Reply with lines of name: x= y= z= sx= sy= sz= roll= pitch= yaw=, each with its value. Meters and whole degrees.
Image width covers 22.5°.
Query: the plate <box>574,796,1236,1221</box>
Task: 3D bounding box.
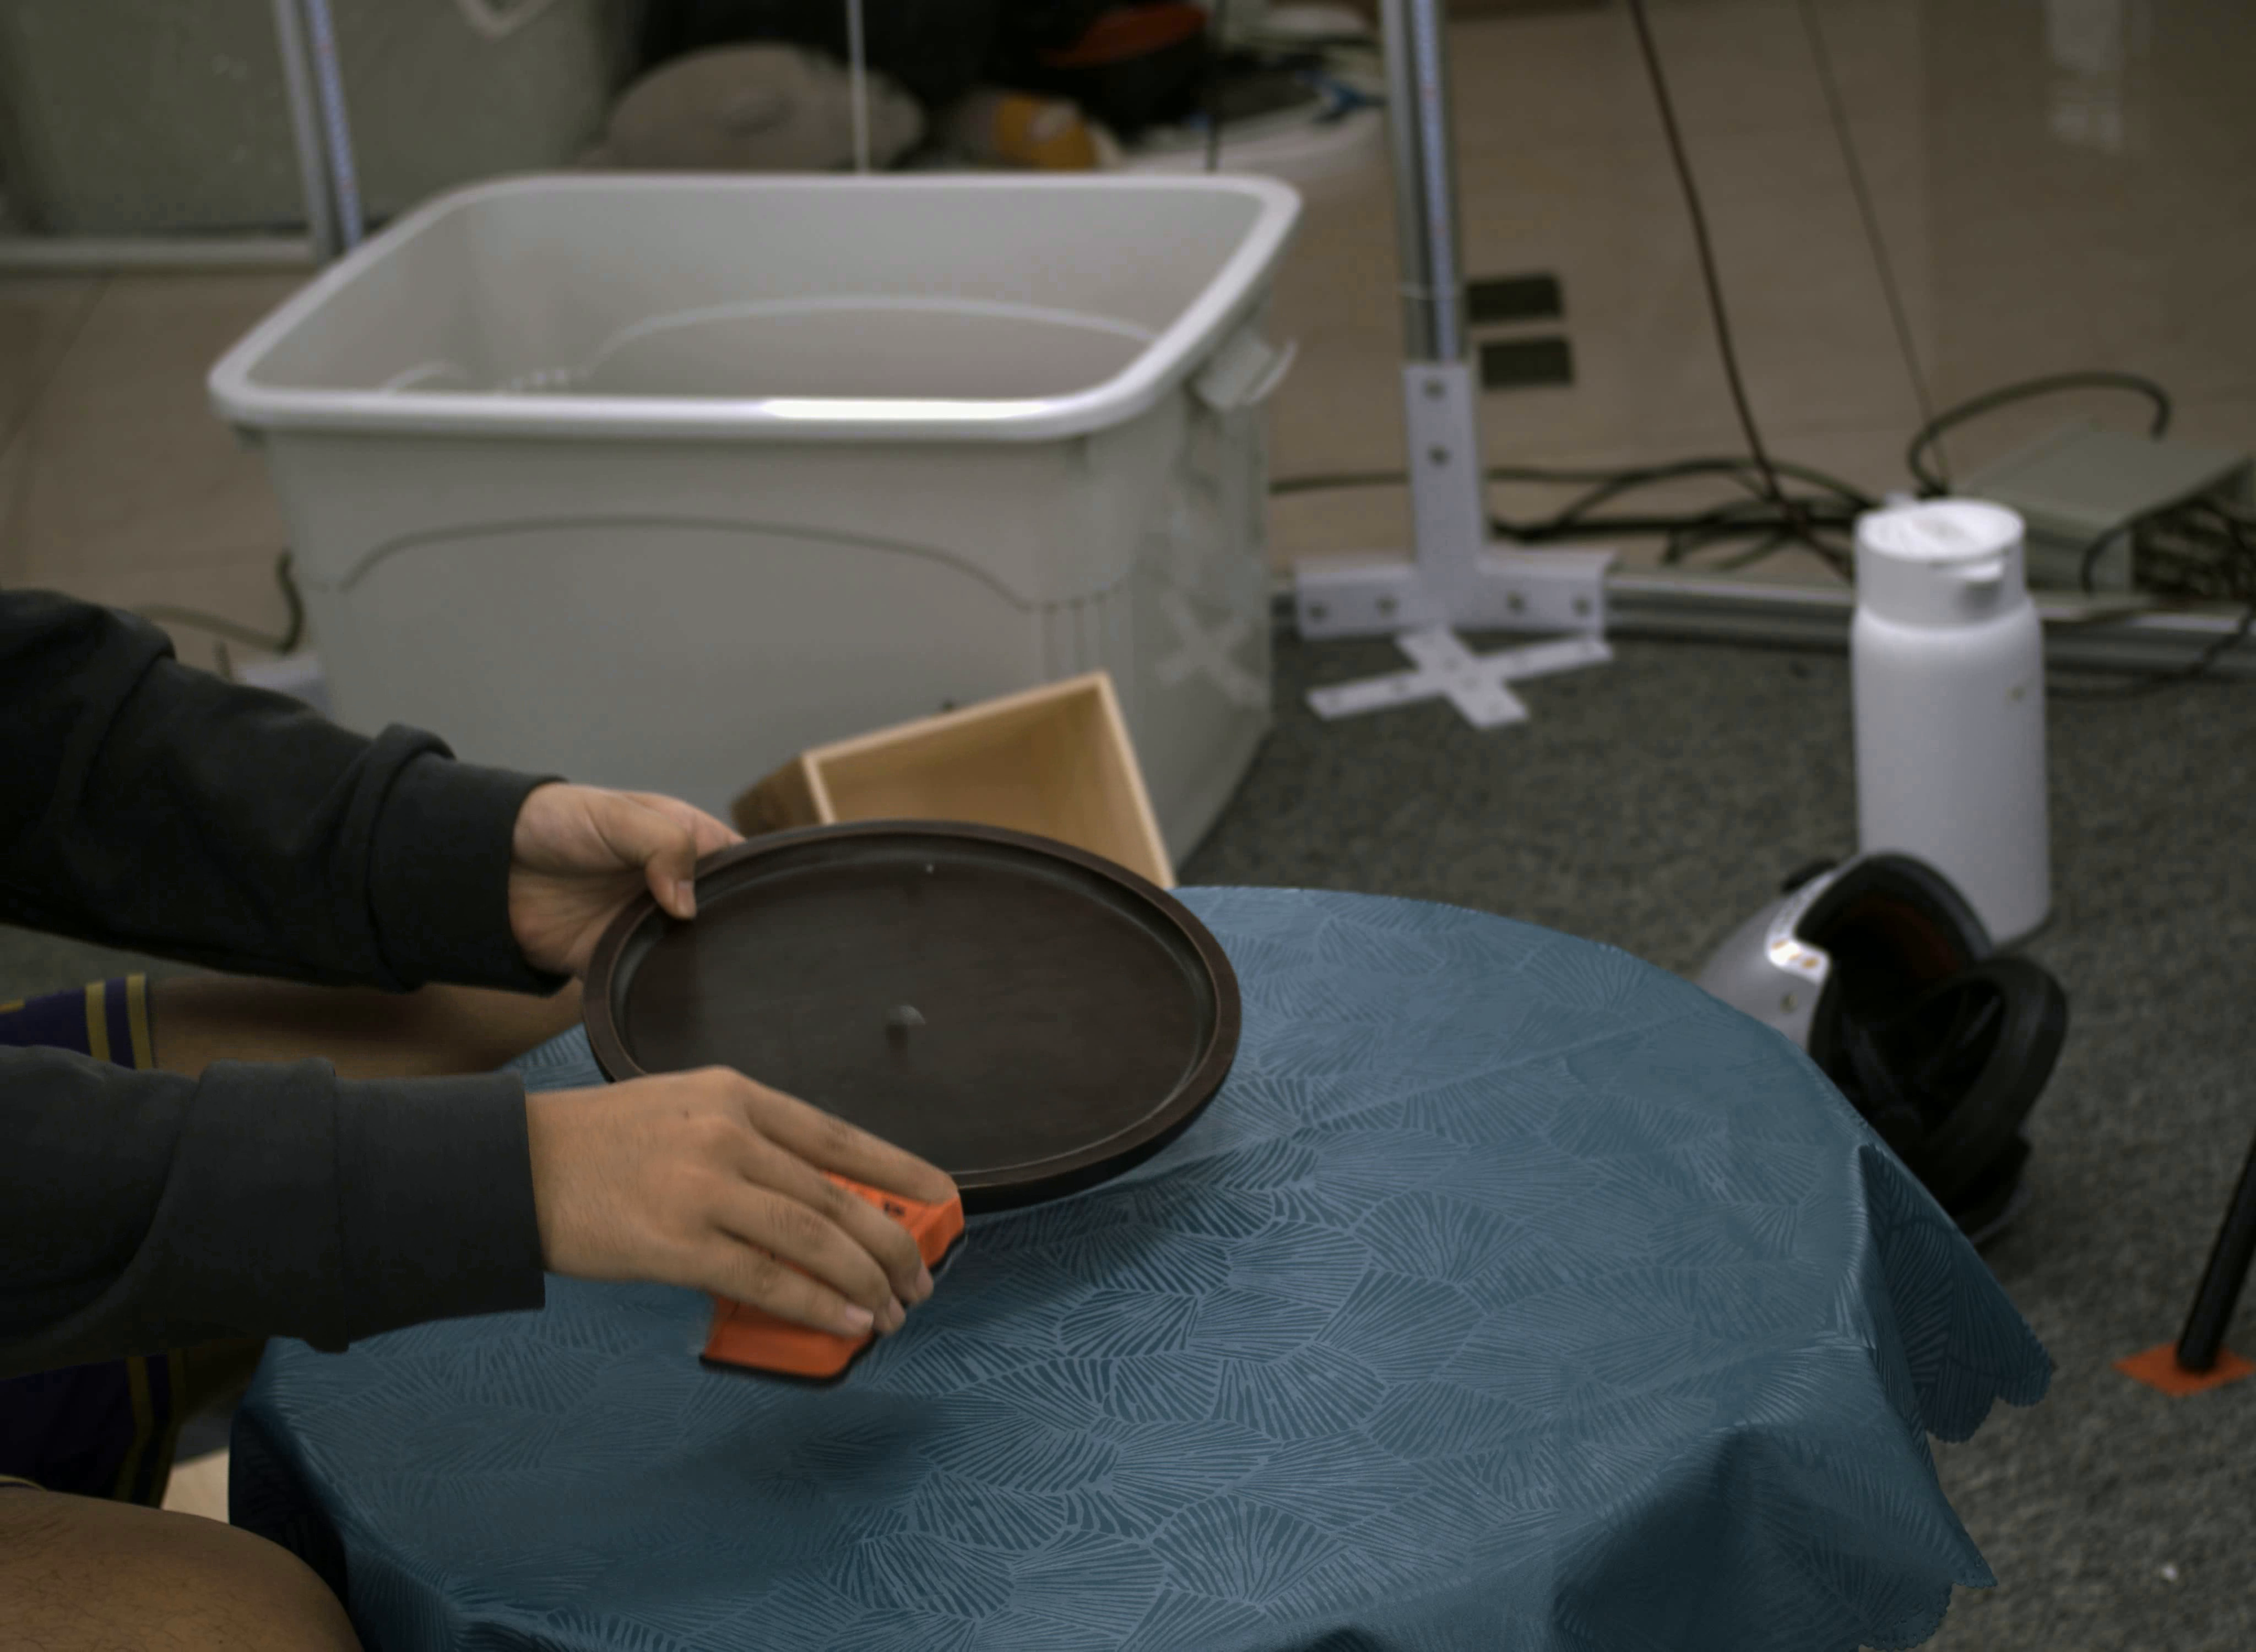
plate: x=-0.085 y=0.071 z=2.162 sx=0.254 sy=0.029 sz=0.250 roll=2 pitch=35 yaw=-2

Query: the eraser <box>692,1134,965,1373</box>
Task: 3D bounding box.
eraser: x=-0.103 y=0.148 z=1.972 sx=0.059 sy=0.023 sz=0.106 roll=11 pitch=35 yaw=24
